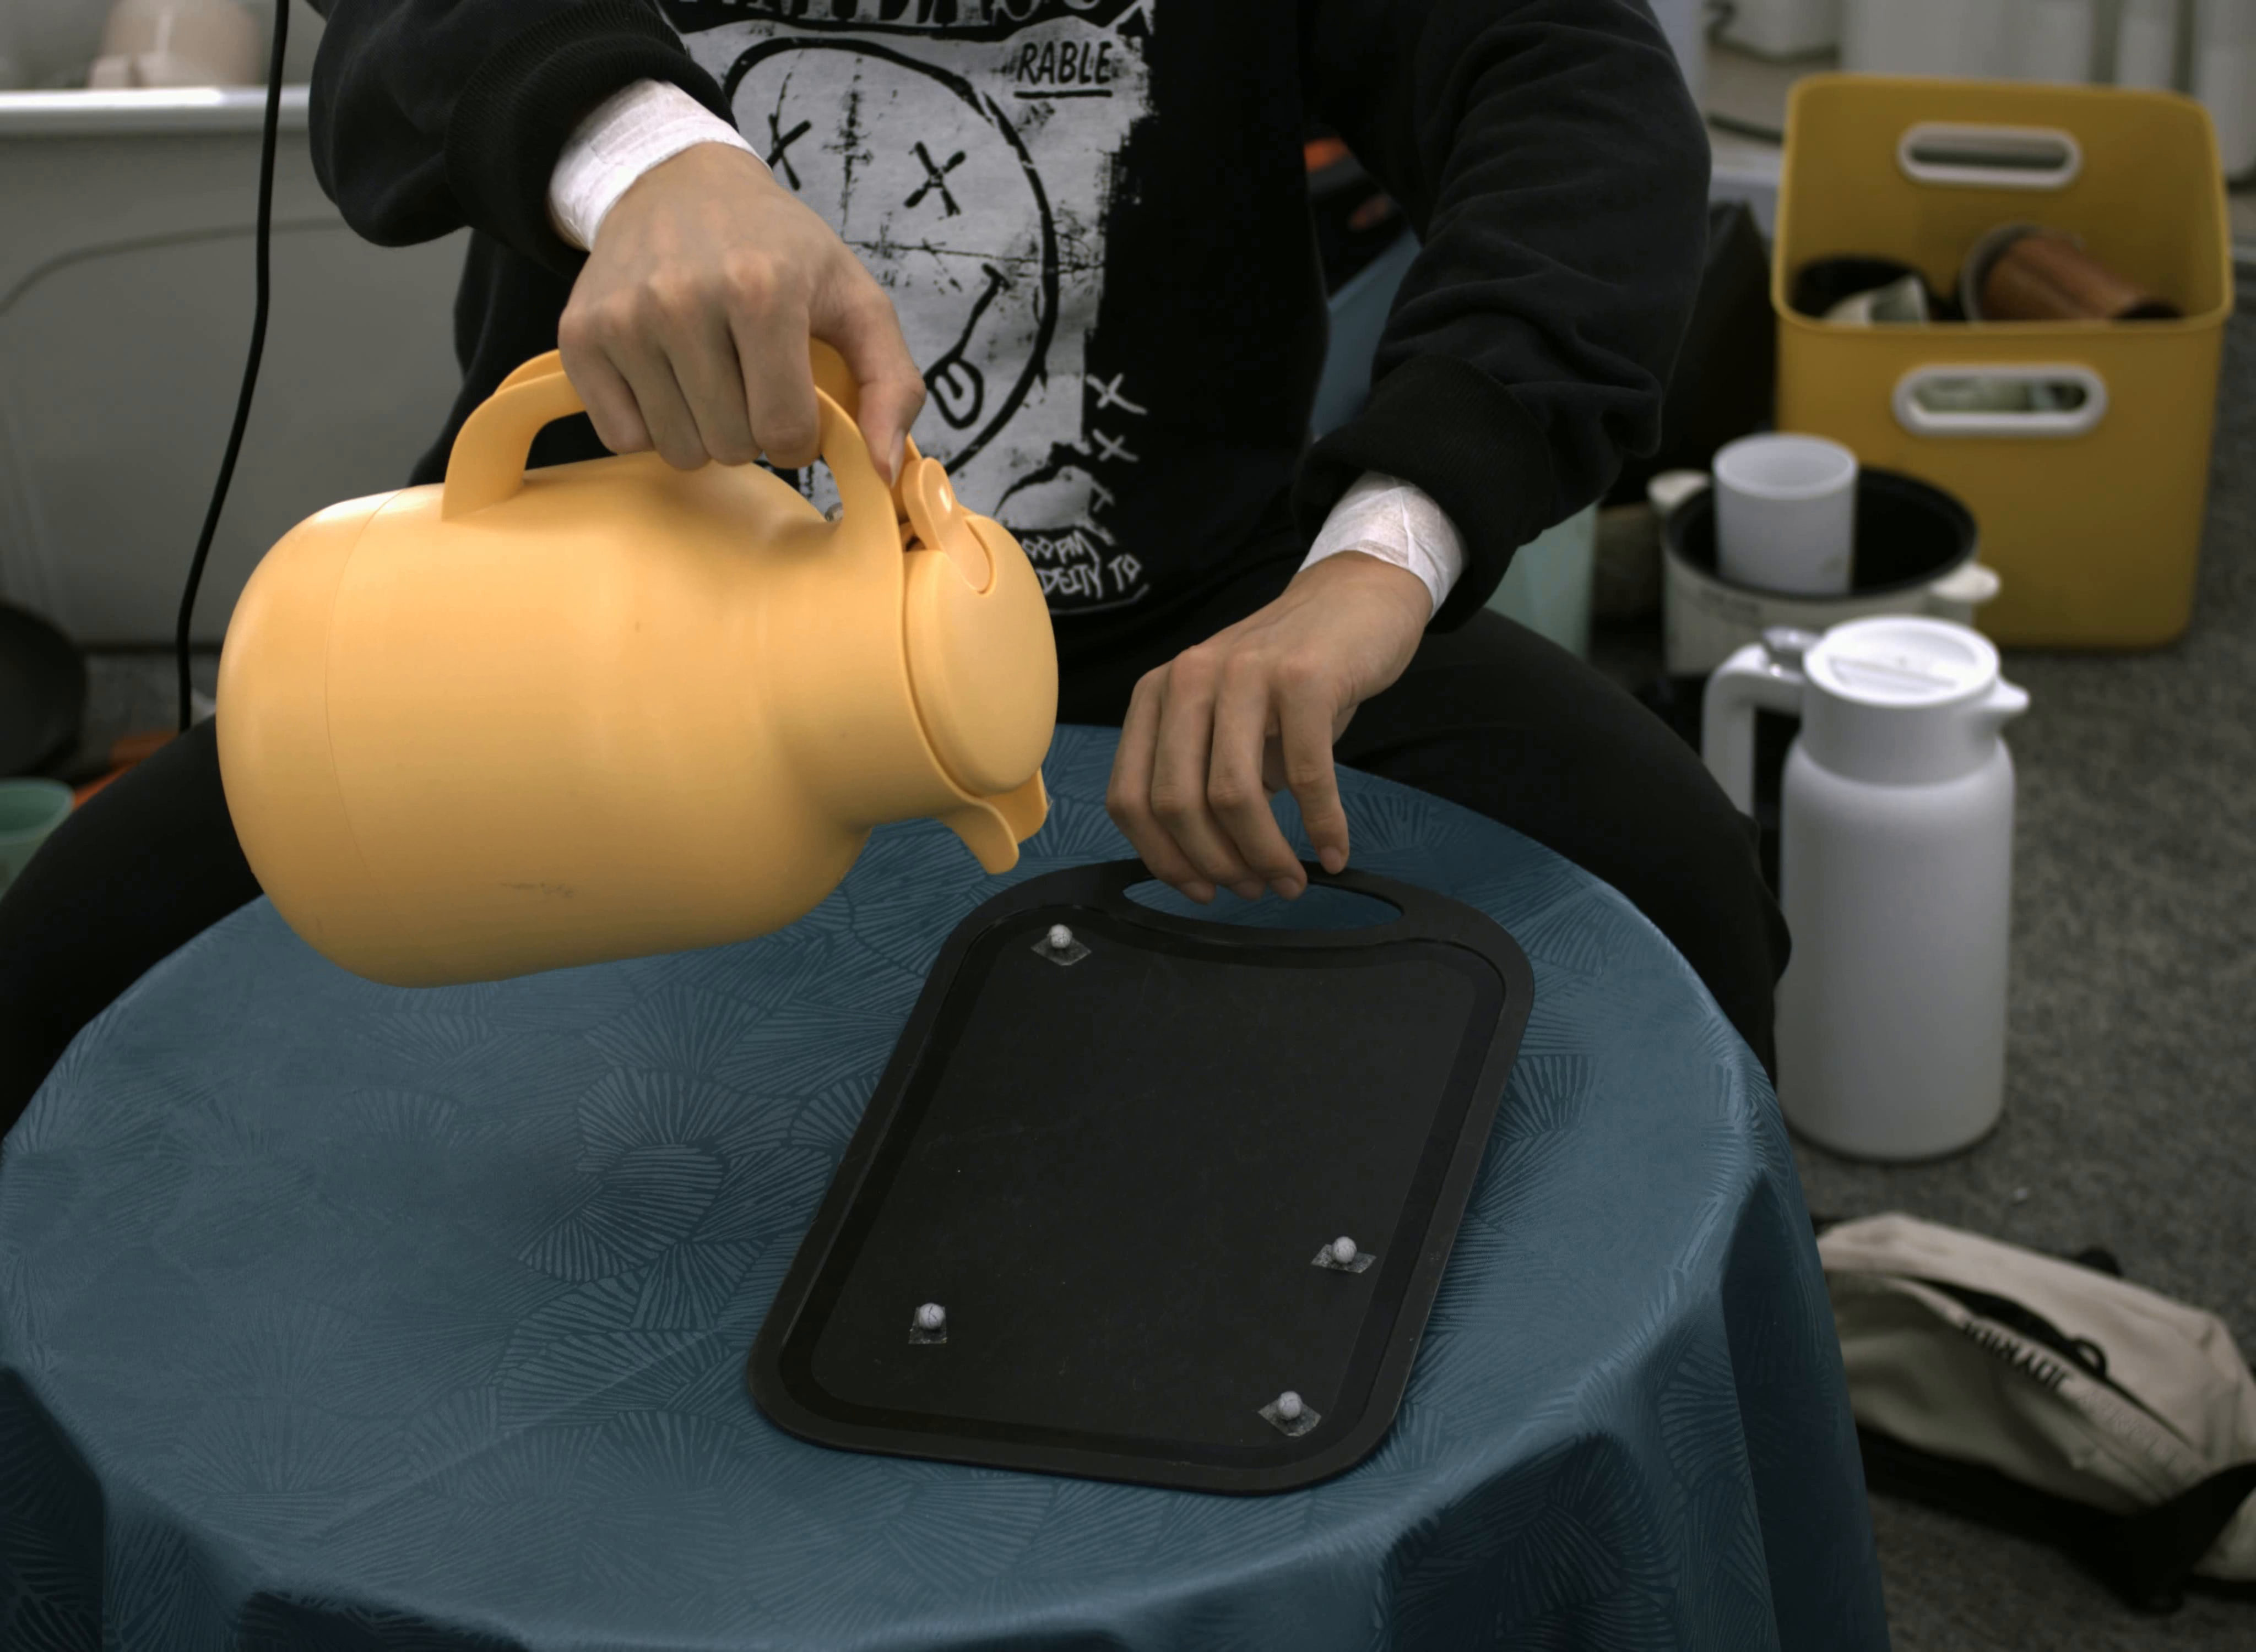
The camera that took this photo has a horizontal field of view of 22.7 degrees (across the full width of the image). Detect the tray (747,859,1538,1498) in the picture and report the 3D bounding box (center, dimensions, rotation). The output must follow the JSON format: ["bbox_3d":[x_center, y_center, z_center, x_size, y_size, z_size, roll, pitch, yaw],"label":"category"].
[{"bbox_3d":[0.011,0.104,1.843,0.209,0.009,0.332,6,35,14],"label":"tray"}]

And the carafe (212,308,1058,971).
[{"bbox_3d":[-0.157,-0.061,1.792,0.258,0.201,0.166,-7,21,22],"label":"carafe"}]
